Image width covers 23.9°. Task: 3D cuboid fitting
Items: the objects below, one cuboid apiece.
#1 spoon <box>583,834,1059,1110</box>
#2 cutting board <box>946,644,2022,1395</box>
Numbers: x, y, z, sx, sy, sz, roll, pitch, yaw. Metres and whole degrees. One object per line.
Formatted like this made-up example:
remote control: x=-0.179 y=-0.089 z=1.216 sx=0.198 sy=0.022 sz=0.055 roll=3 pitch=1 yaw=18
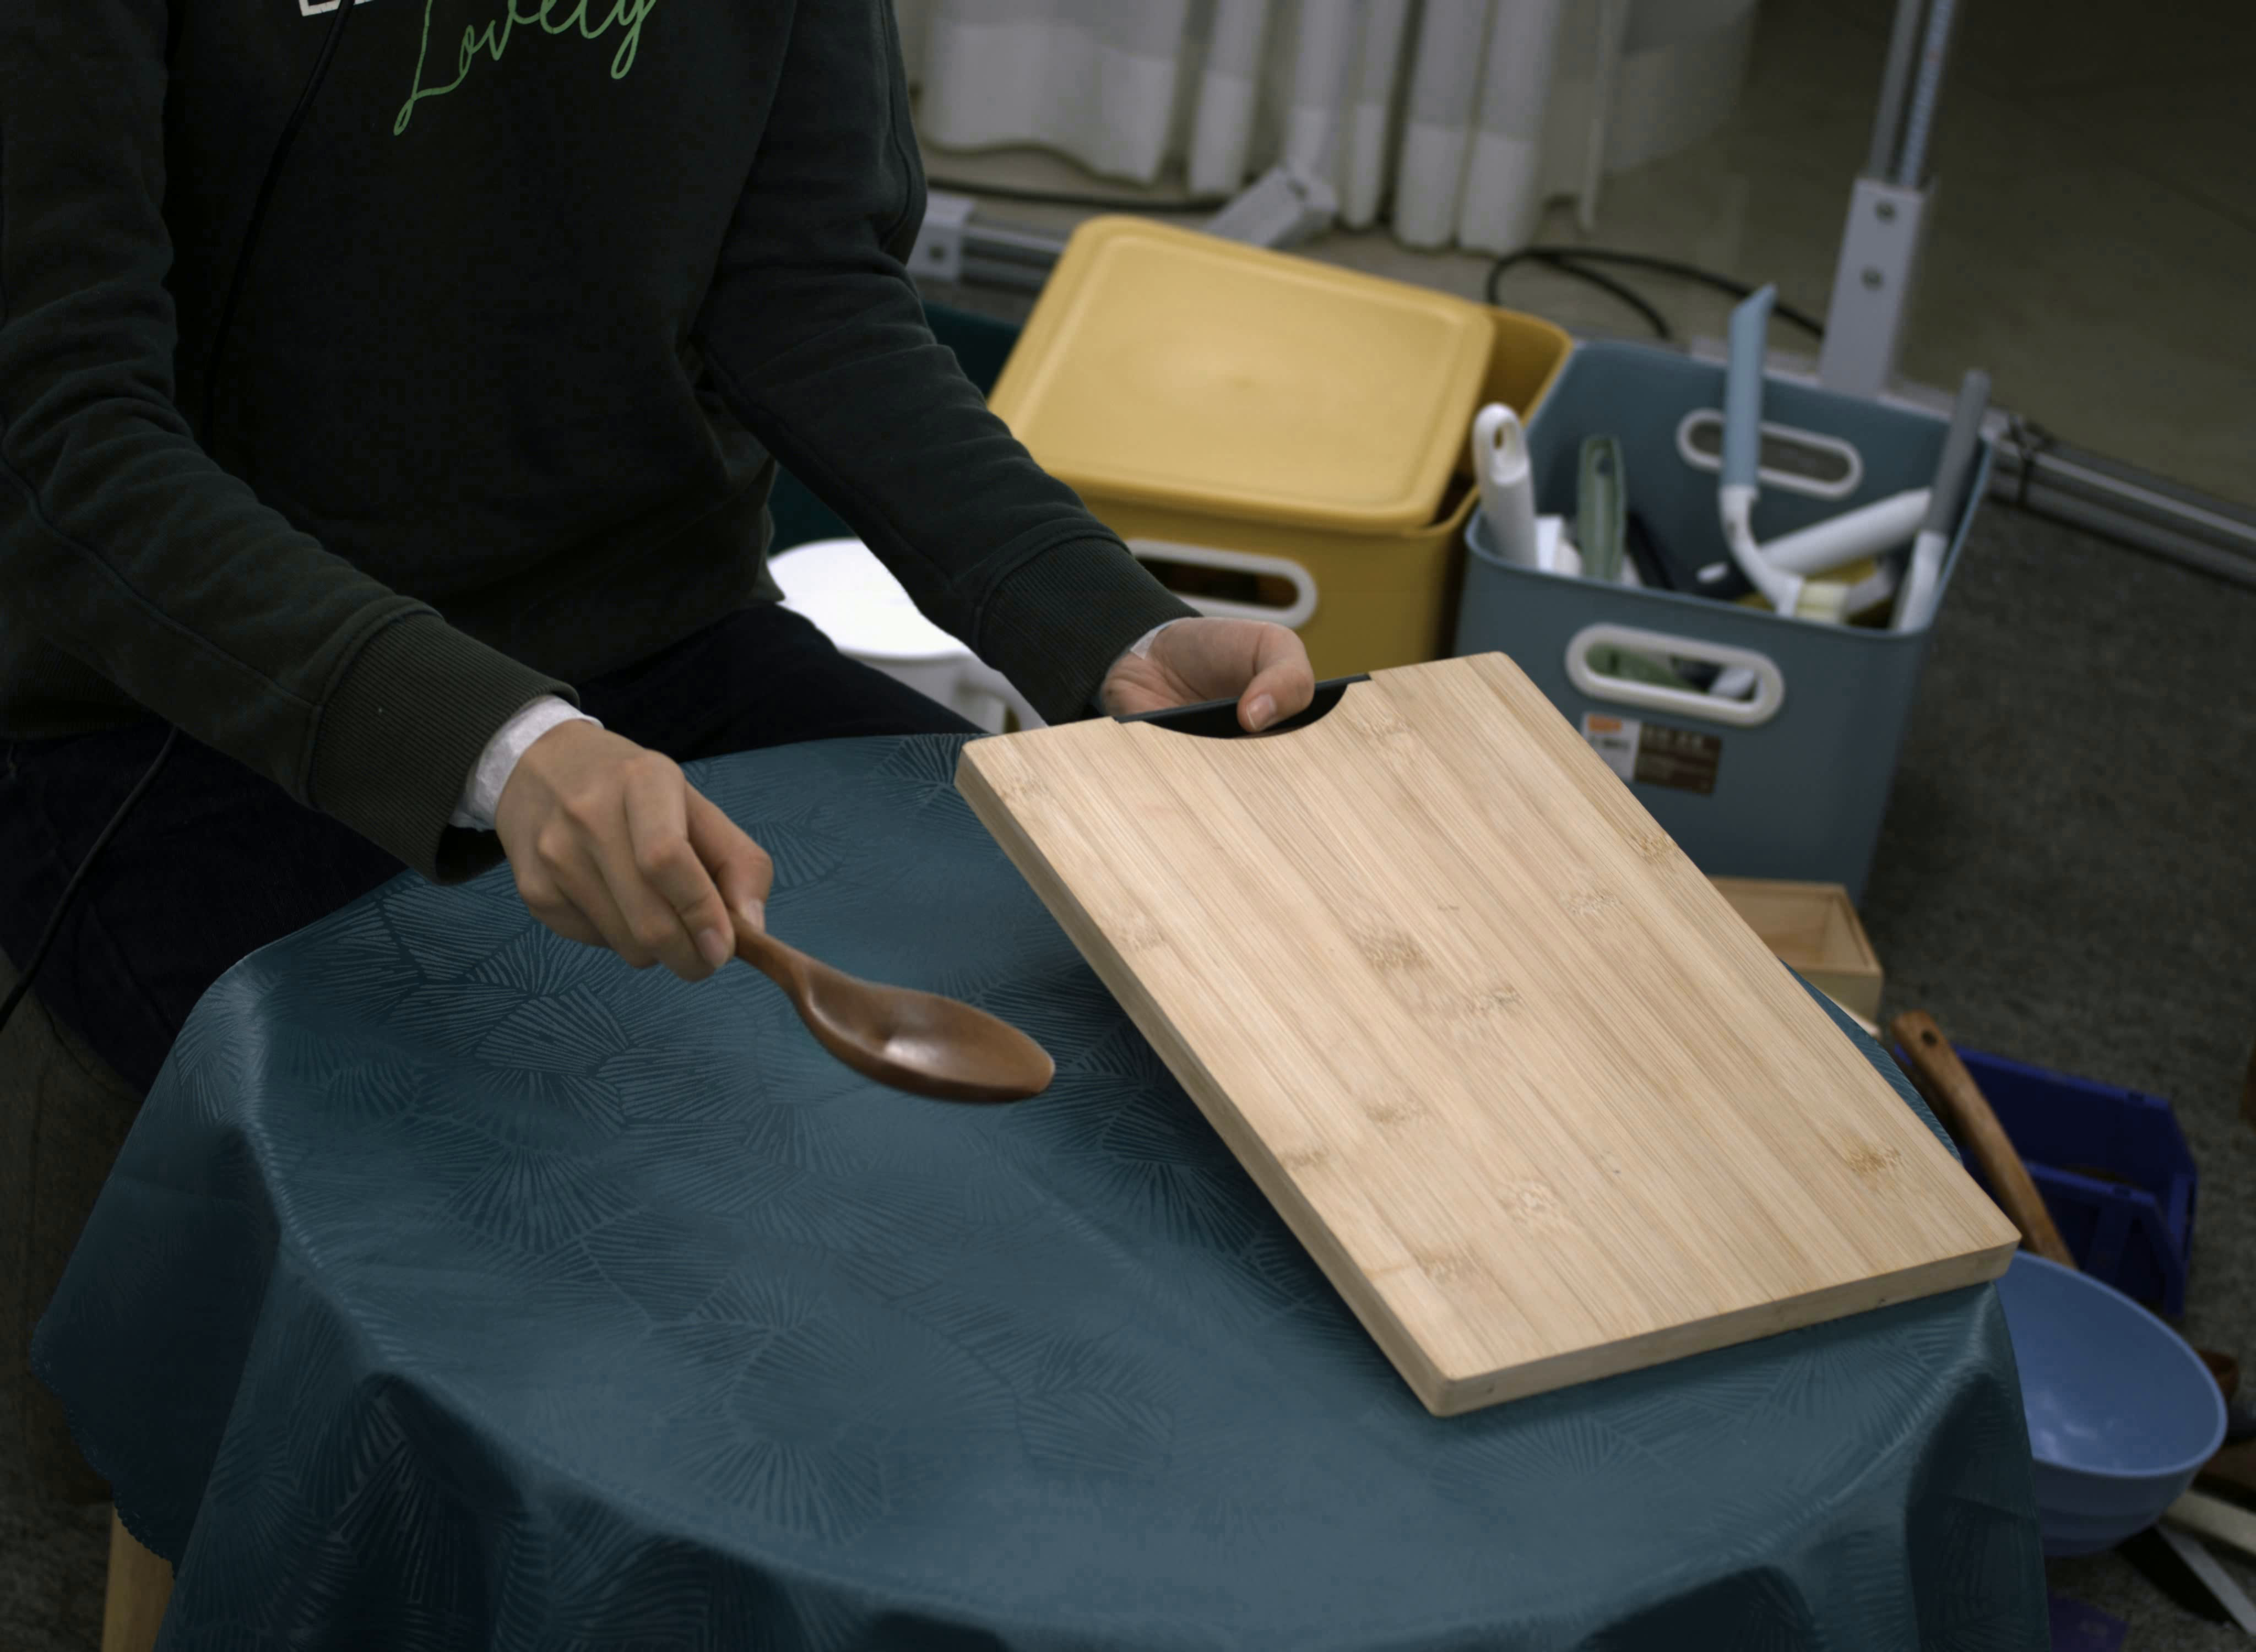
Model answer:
spoon: x=-0.105 y=0.048 z=1.713 sx=0.075 sy=0.017 sz=0.217 roll=-5 pitch=25 yaw=-43
cutting board: x=0.118 y=0.059 z=1.861 sx=0.249 sy=0.023 sz=0.352 roll=-10 pitch=42 yaw=-31
